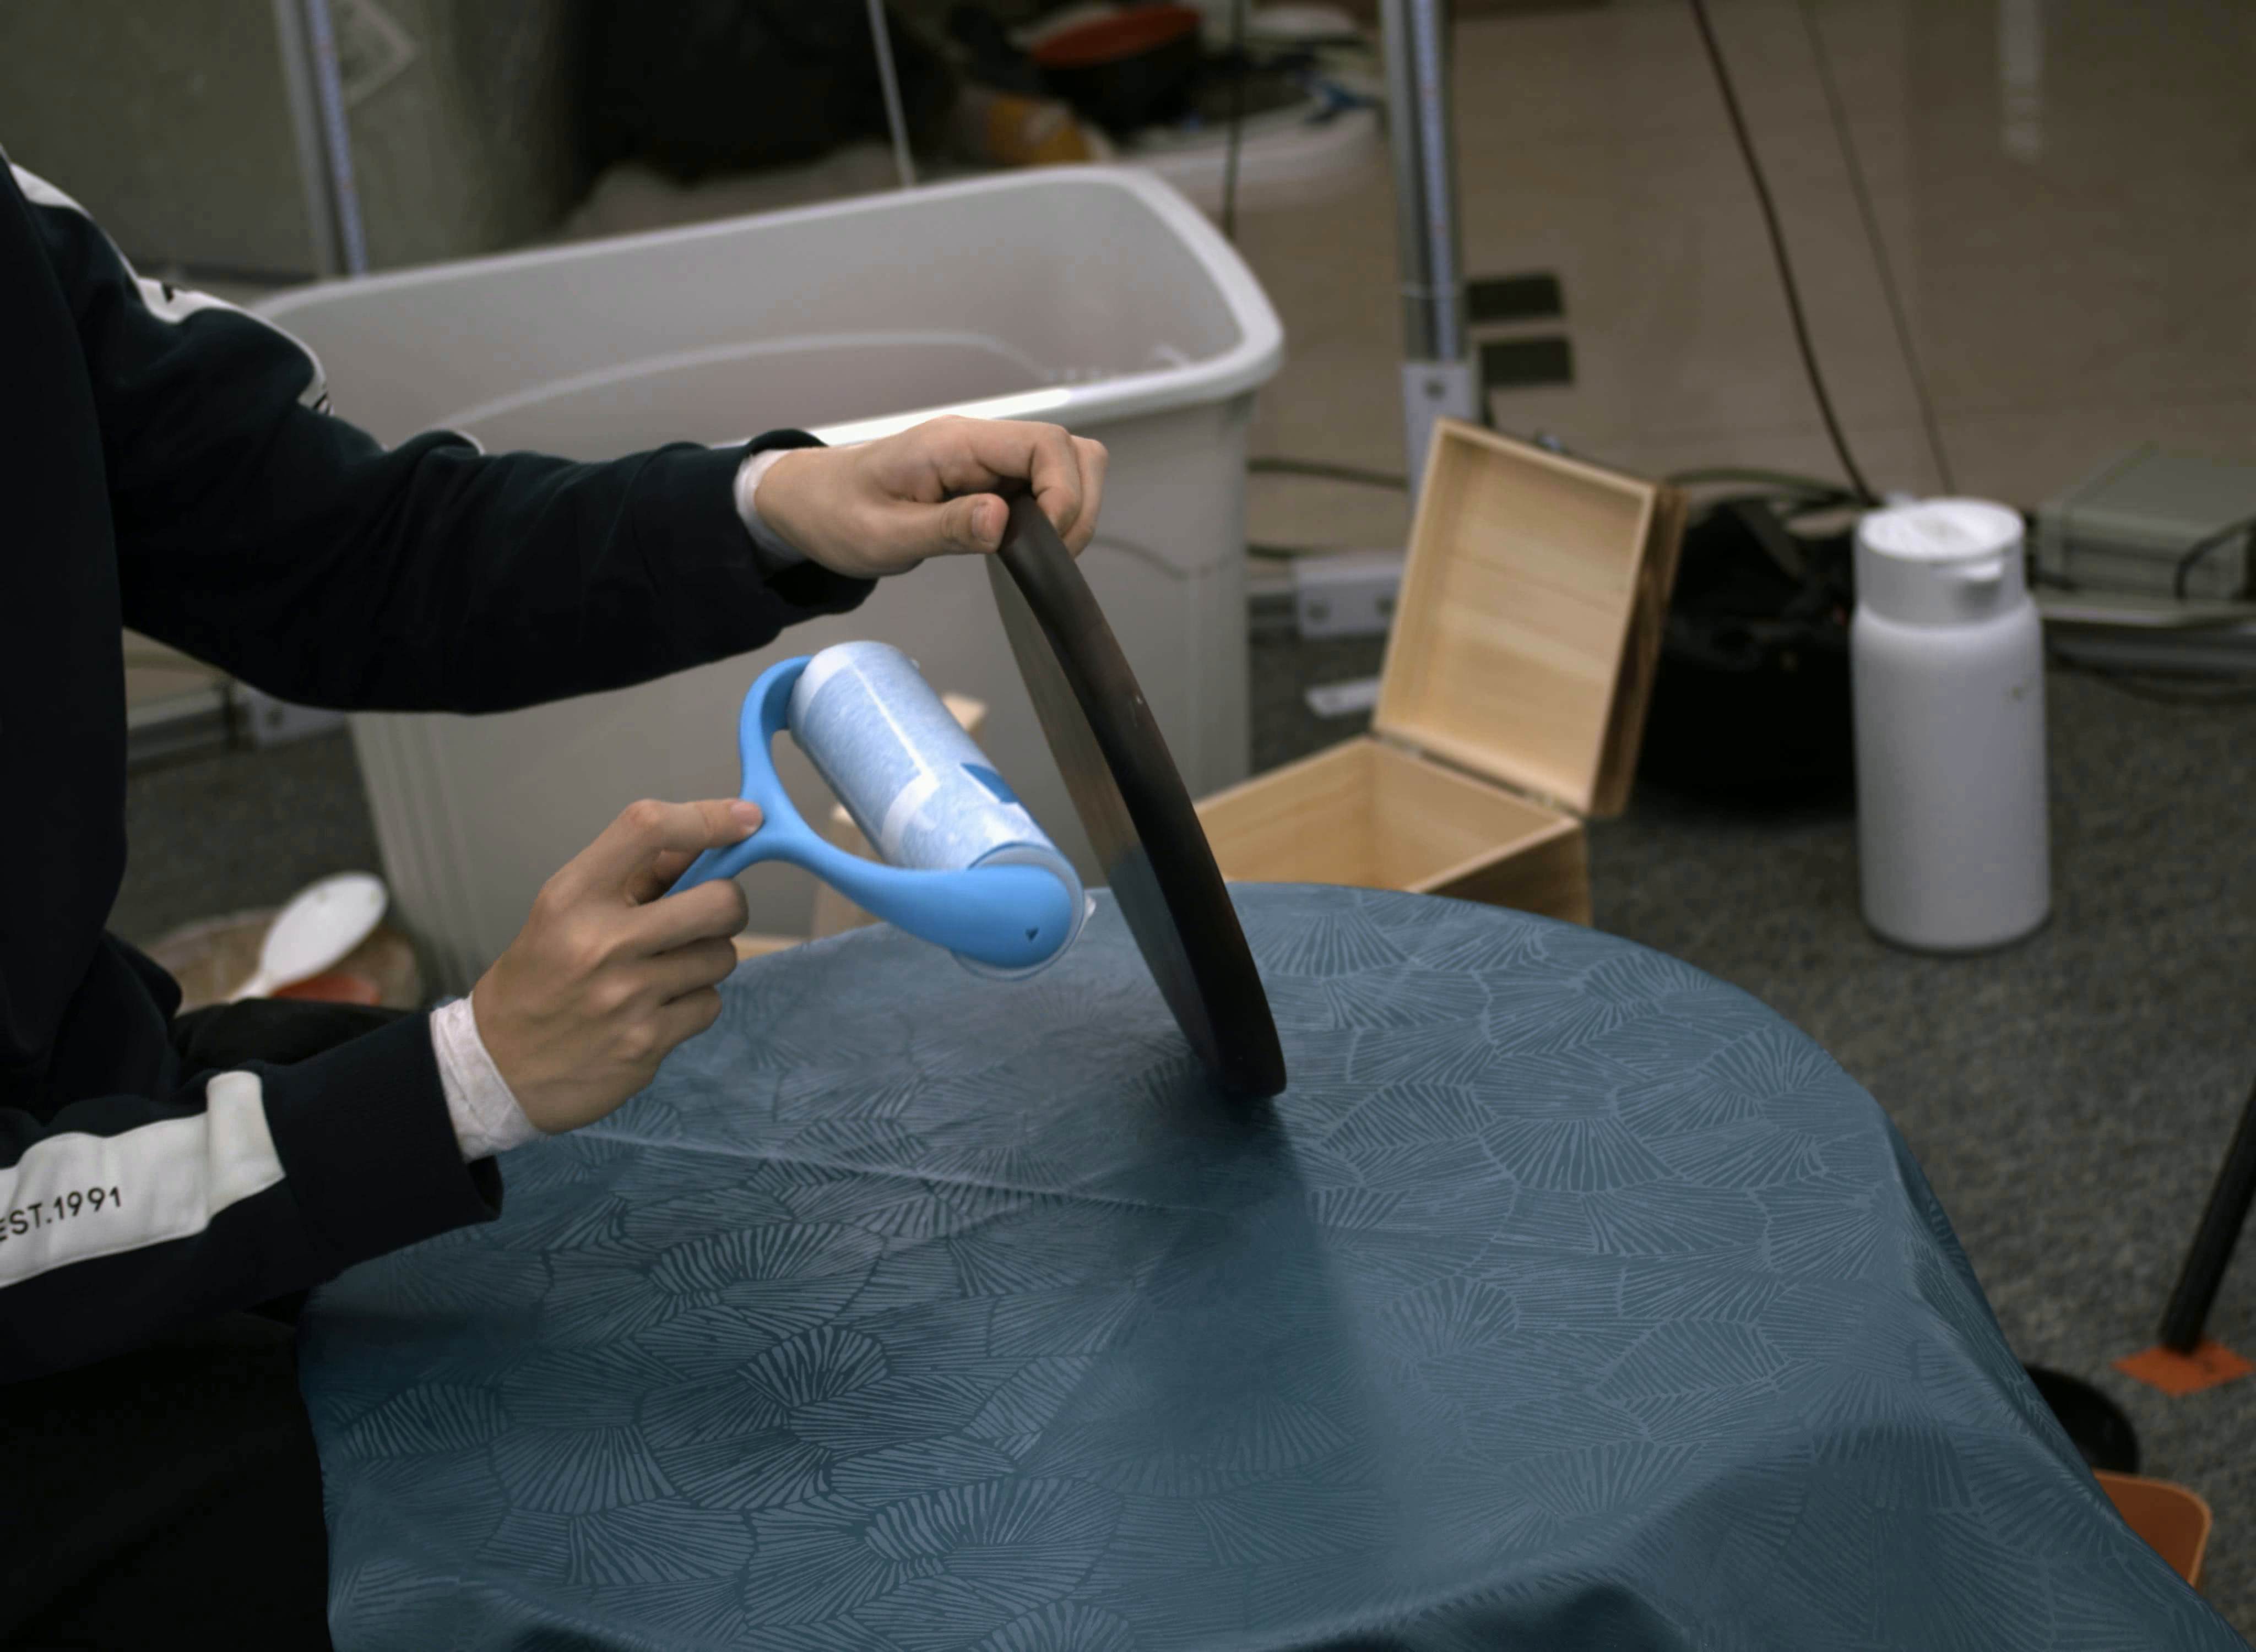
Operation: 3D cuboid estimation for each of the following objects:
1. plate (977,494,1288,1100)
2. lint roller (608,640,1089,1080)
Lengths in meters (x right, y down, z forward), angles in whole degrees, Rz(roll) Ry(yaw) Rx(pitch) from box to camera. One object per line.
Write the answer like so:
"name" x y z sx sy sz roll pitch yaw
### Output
"plate" 0.000 -0.009 2.169 0.029 0.259 0.251 -23 27 -6
"lint roller" -0.122 0.022 2.059 0.180 0.069 0.226 -33 33 -7
